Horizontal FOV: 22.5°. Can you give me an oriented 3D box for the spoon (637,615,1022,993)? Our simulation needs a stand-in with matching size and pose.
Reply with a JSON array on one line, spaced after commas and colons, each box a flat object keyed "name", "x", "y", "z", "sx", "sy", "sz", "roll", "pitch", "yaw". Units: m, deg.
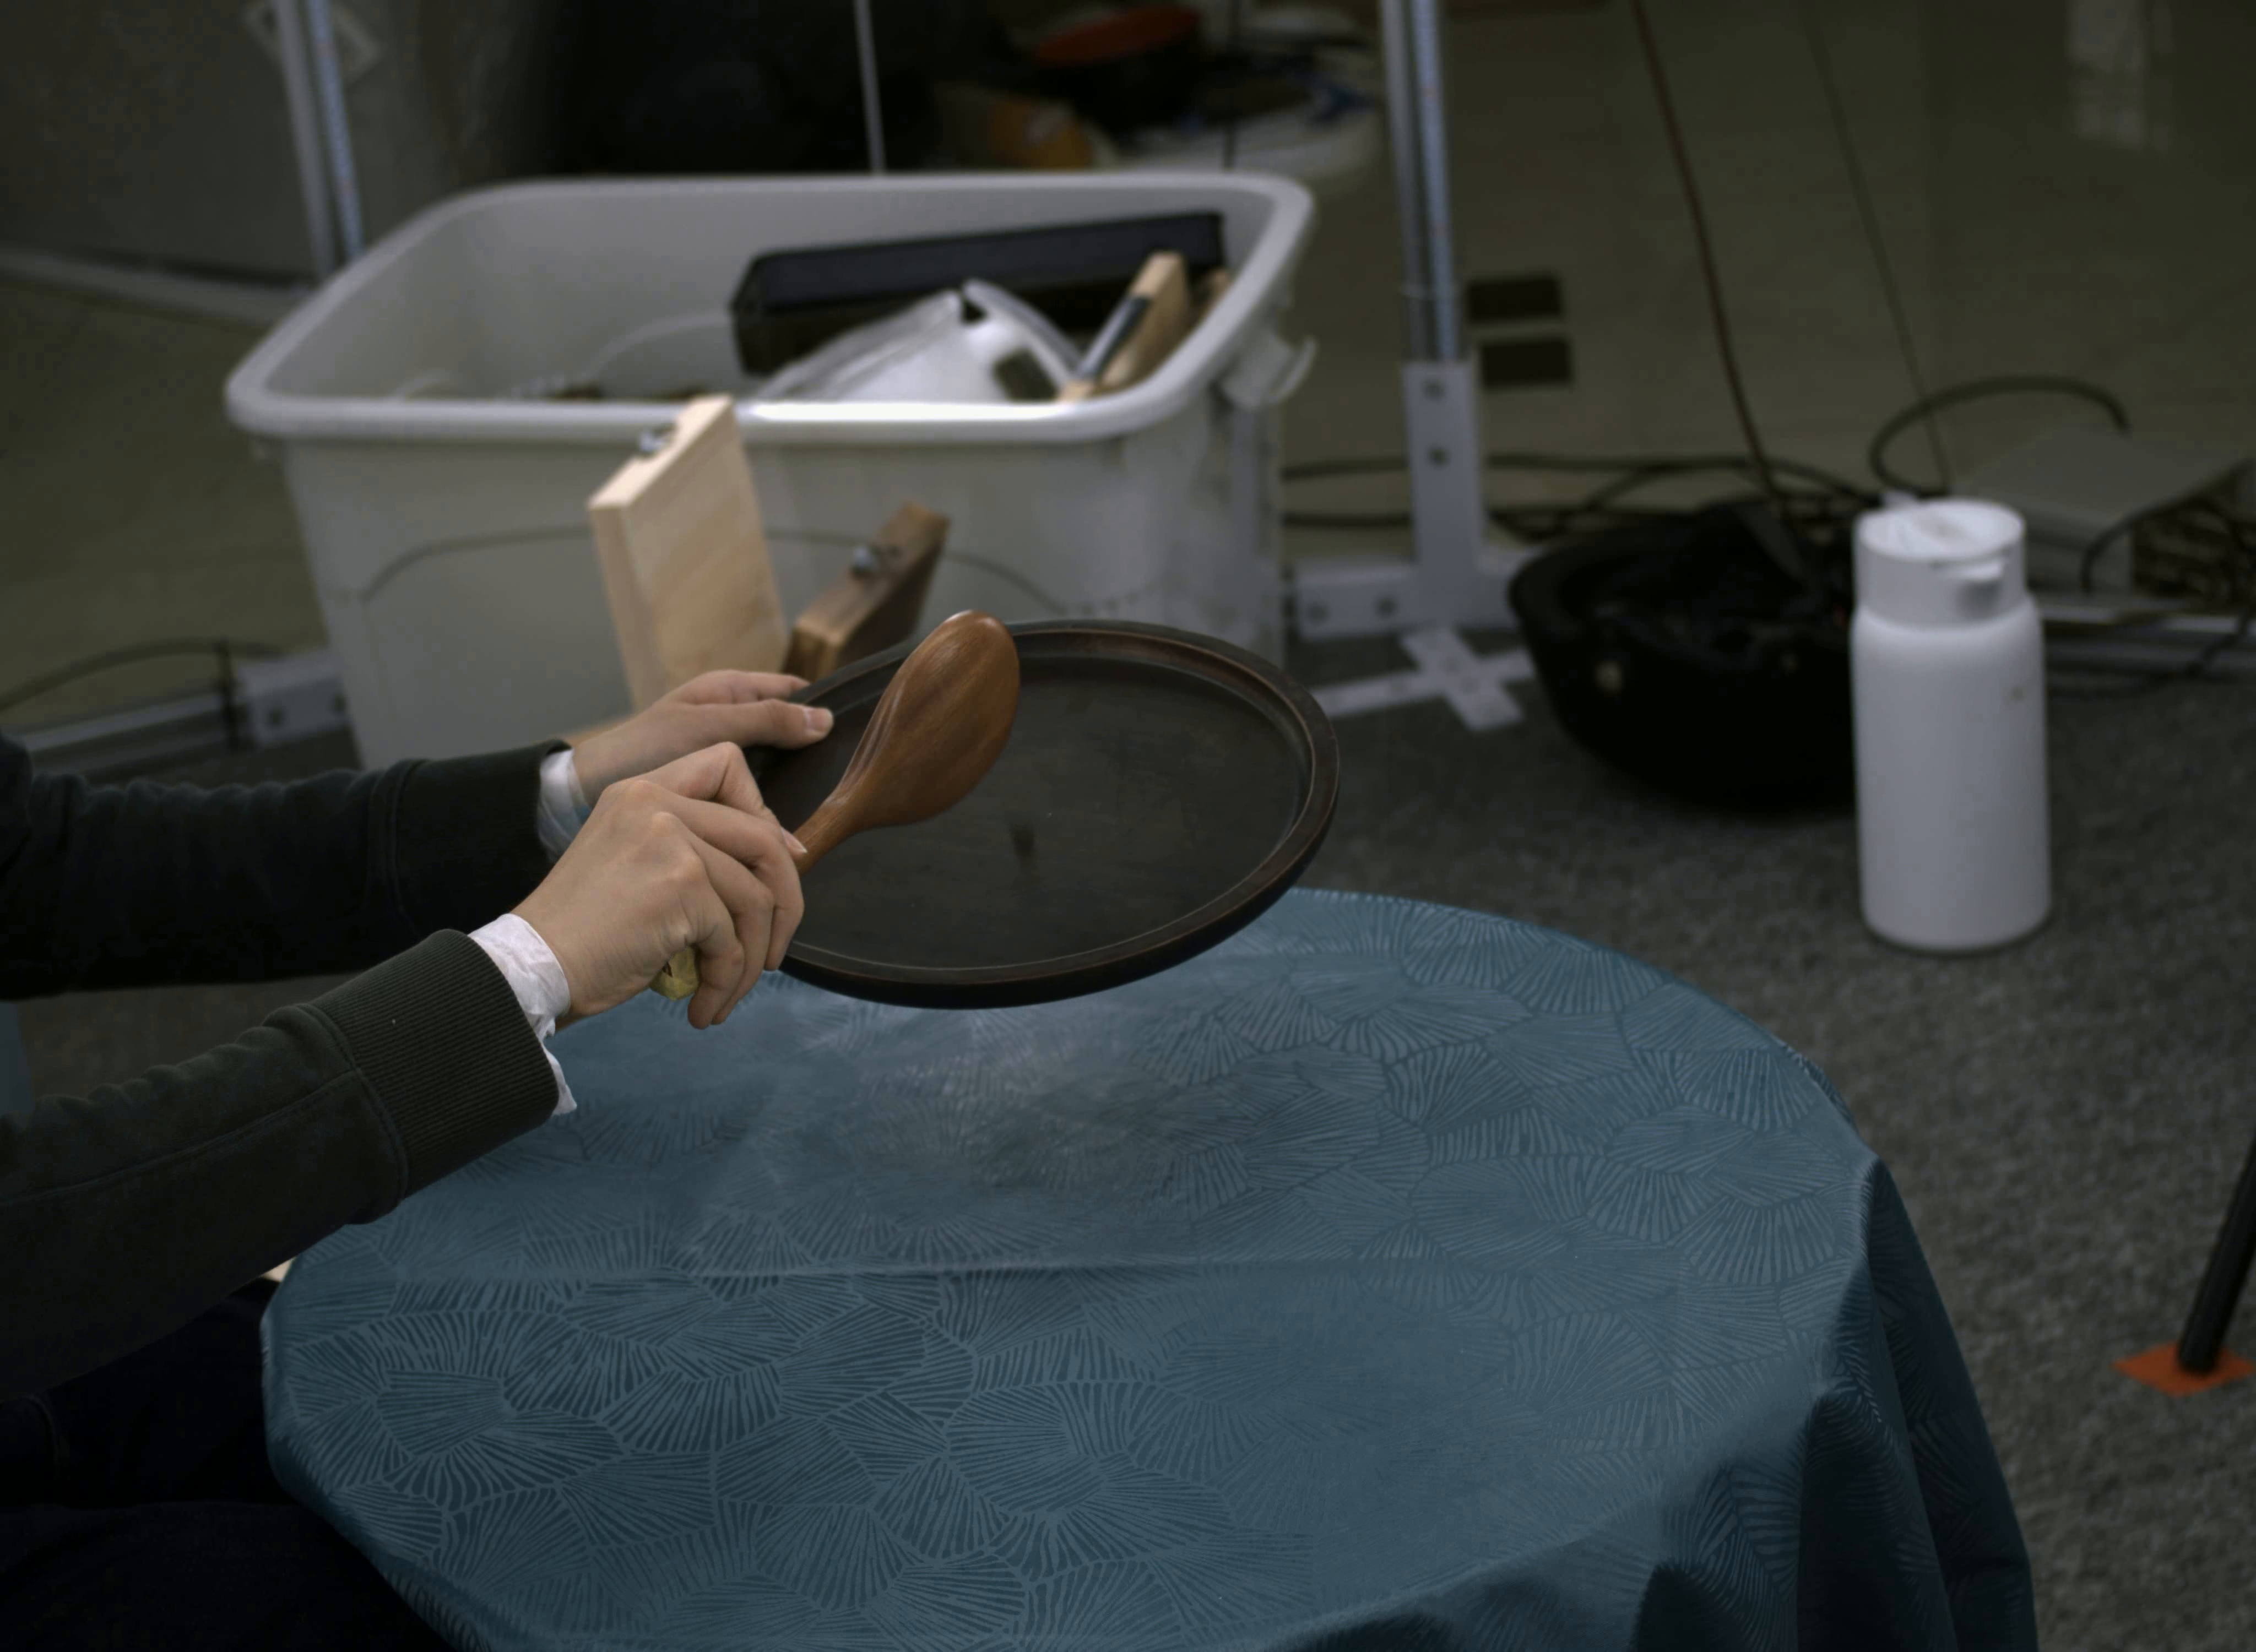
[{"name": "spoon", "x": -0.100, "y": -0.004, "z": 2.008, "sx": 0.017, "sy": 0.077, "sz": 0.213, "roll": 21, "pitch": 44, "yaw": 31}]

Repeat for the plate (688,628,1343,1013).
[{"name": "plate", "x": -0.043, "y": -0.004, "z": 2.161, "sx": 0.254, "sy": 0.029, "sz": 0.250, "roll": -5, "pitch": 33, "yaw": 3}]
